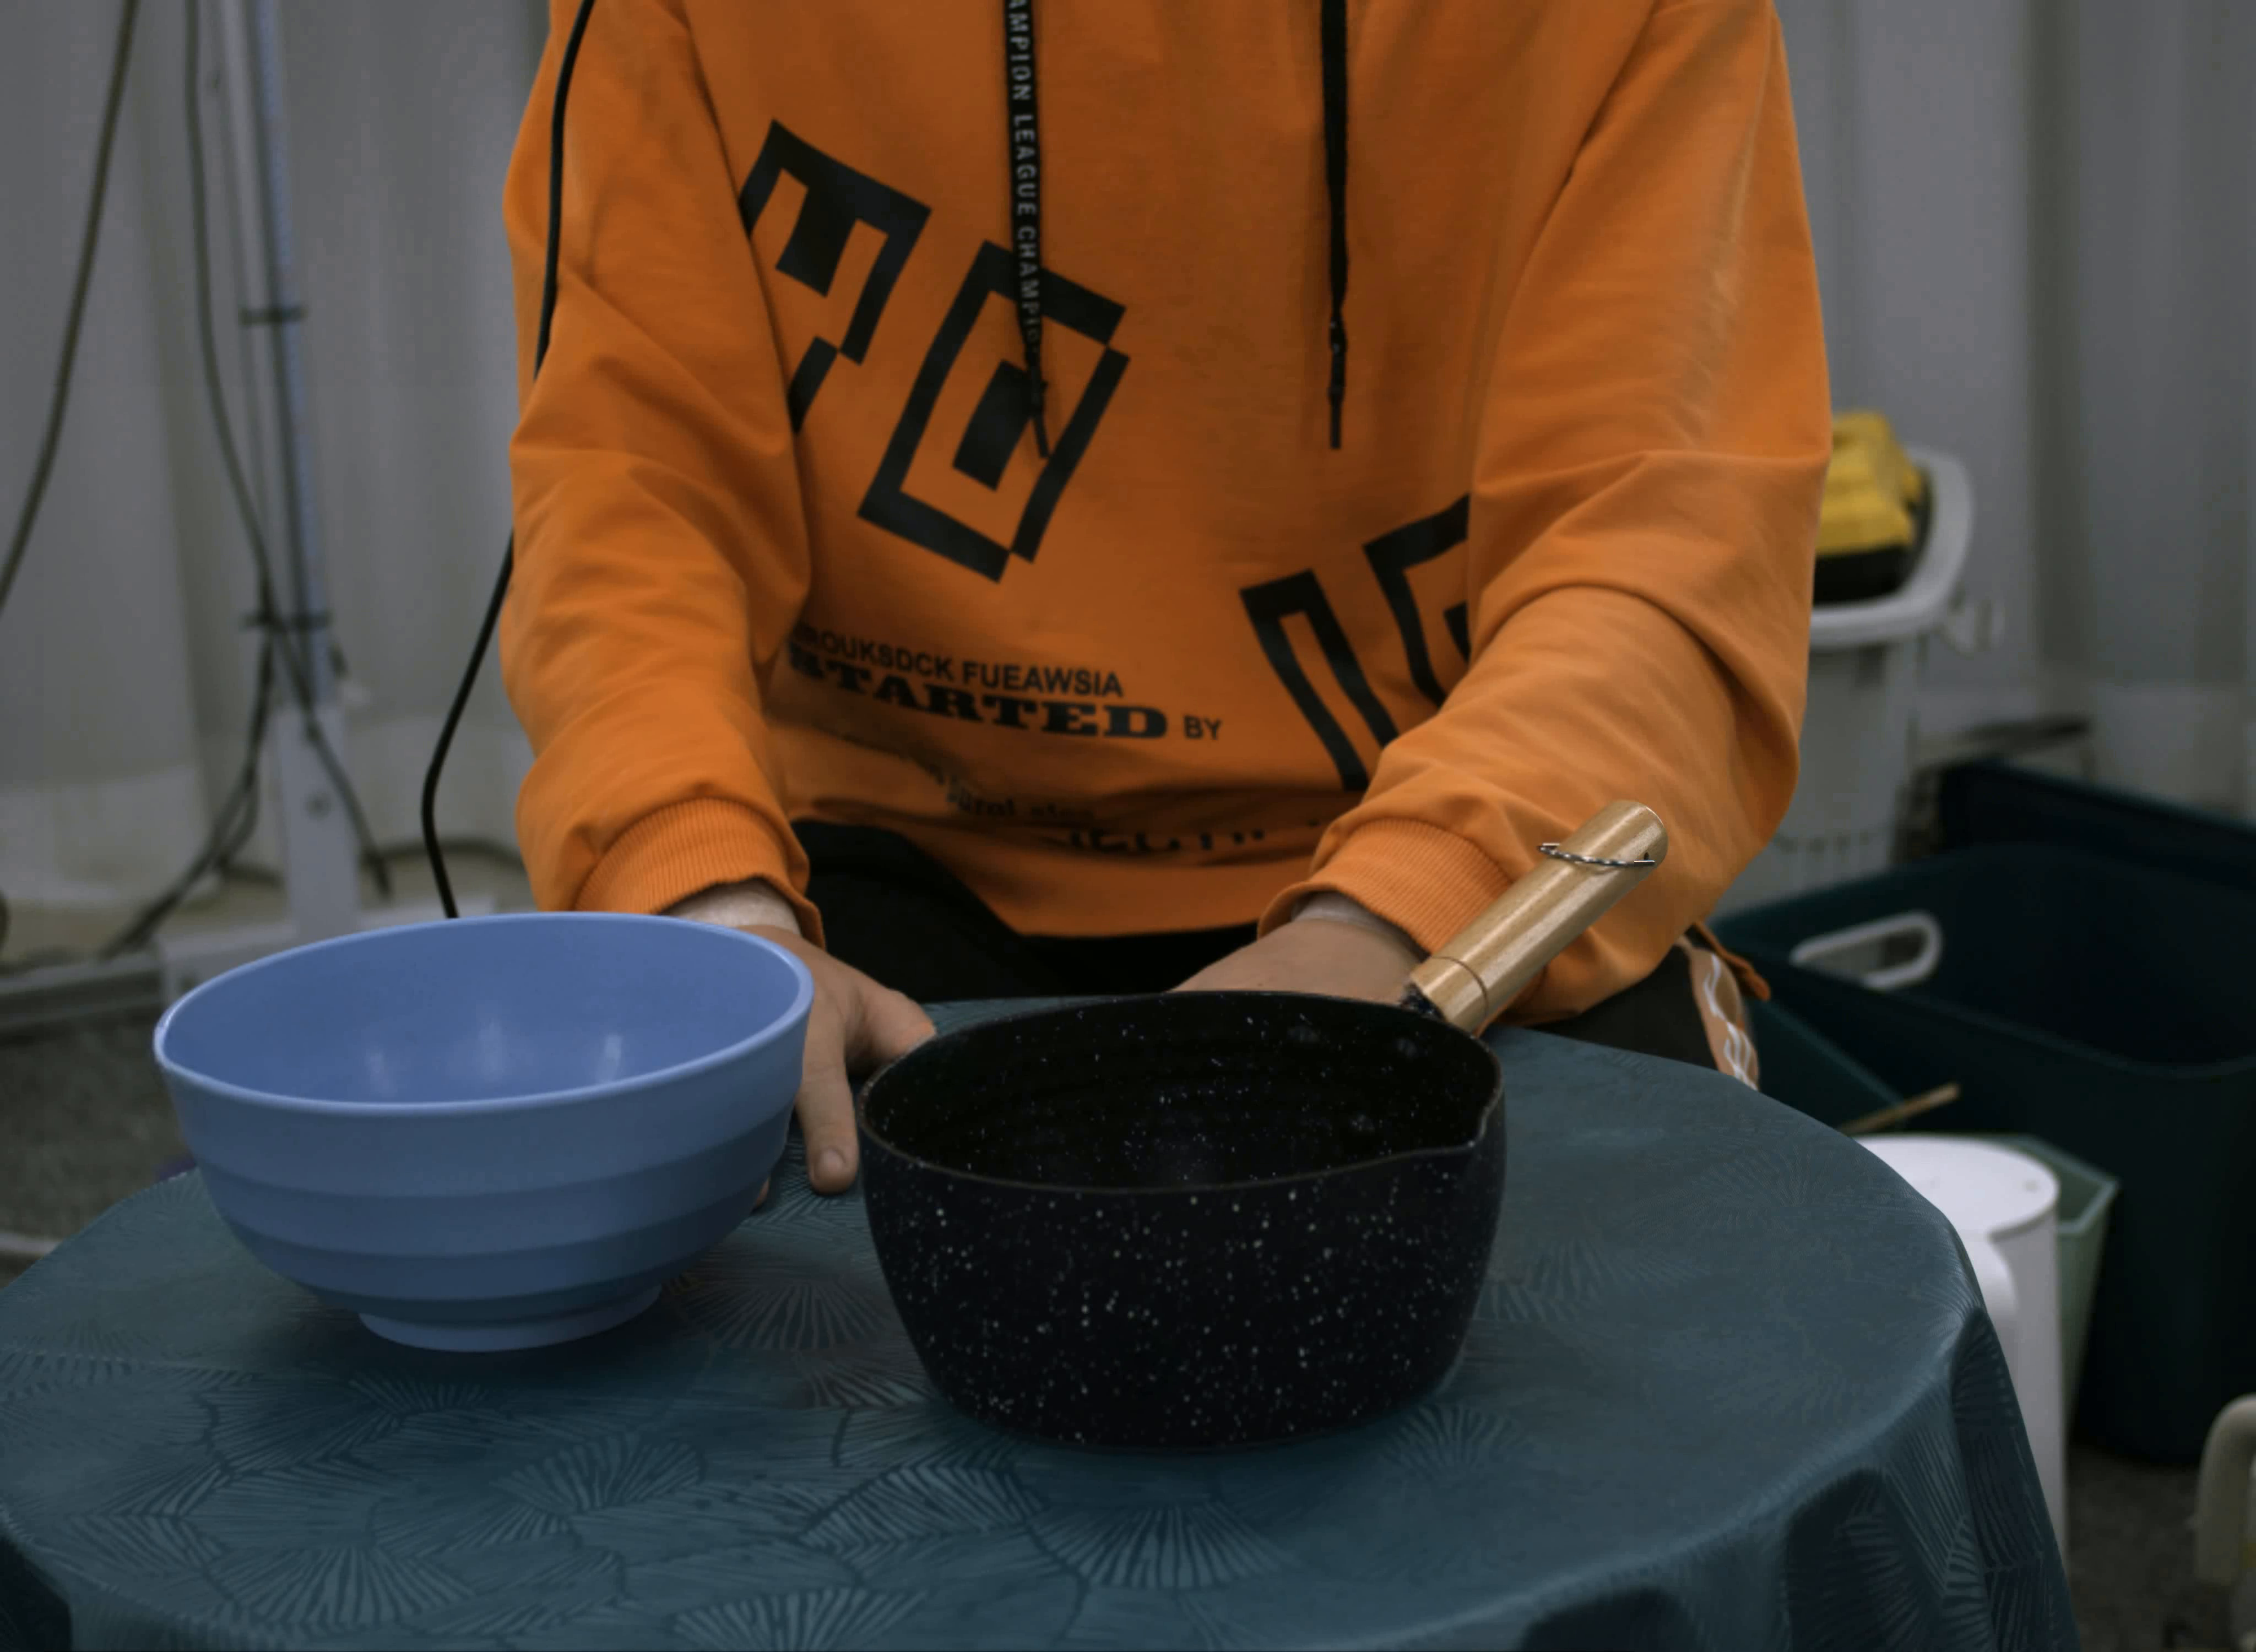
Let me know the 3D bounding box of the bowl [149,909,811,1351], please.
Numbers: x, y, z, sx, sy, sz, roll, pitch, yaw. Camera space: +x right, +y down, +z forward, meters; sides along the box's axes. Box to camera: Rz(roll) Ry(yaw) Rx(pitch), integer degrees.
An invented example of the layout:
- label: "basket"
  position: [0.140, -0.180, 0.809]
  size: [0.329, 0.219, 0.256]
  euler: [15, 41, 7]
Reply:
- label: "bowl"
  position: [-0.189, 0.097, 1.635]
  size: [0.196, 0.095, 0.198]
  euler: [-4, 15, 1]

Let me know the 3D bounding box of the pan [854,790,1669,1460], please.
- label: "pan"
  position: [0.062, 0.083, 1.613]
  size: [0.208, 0.108, 0.343]
  euler: [6, 19, 35]
